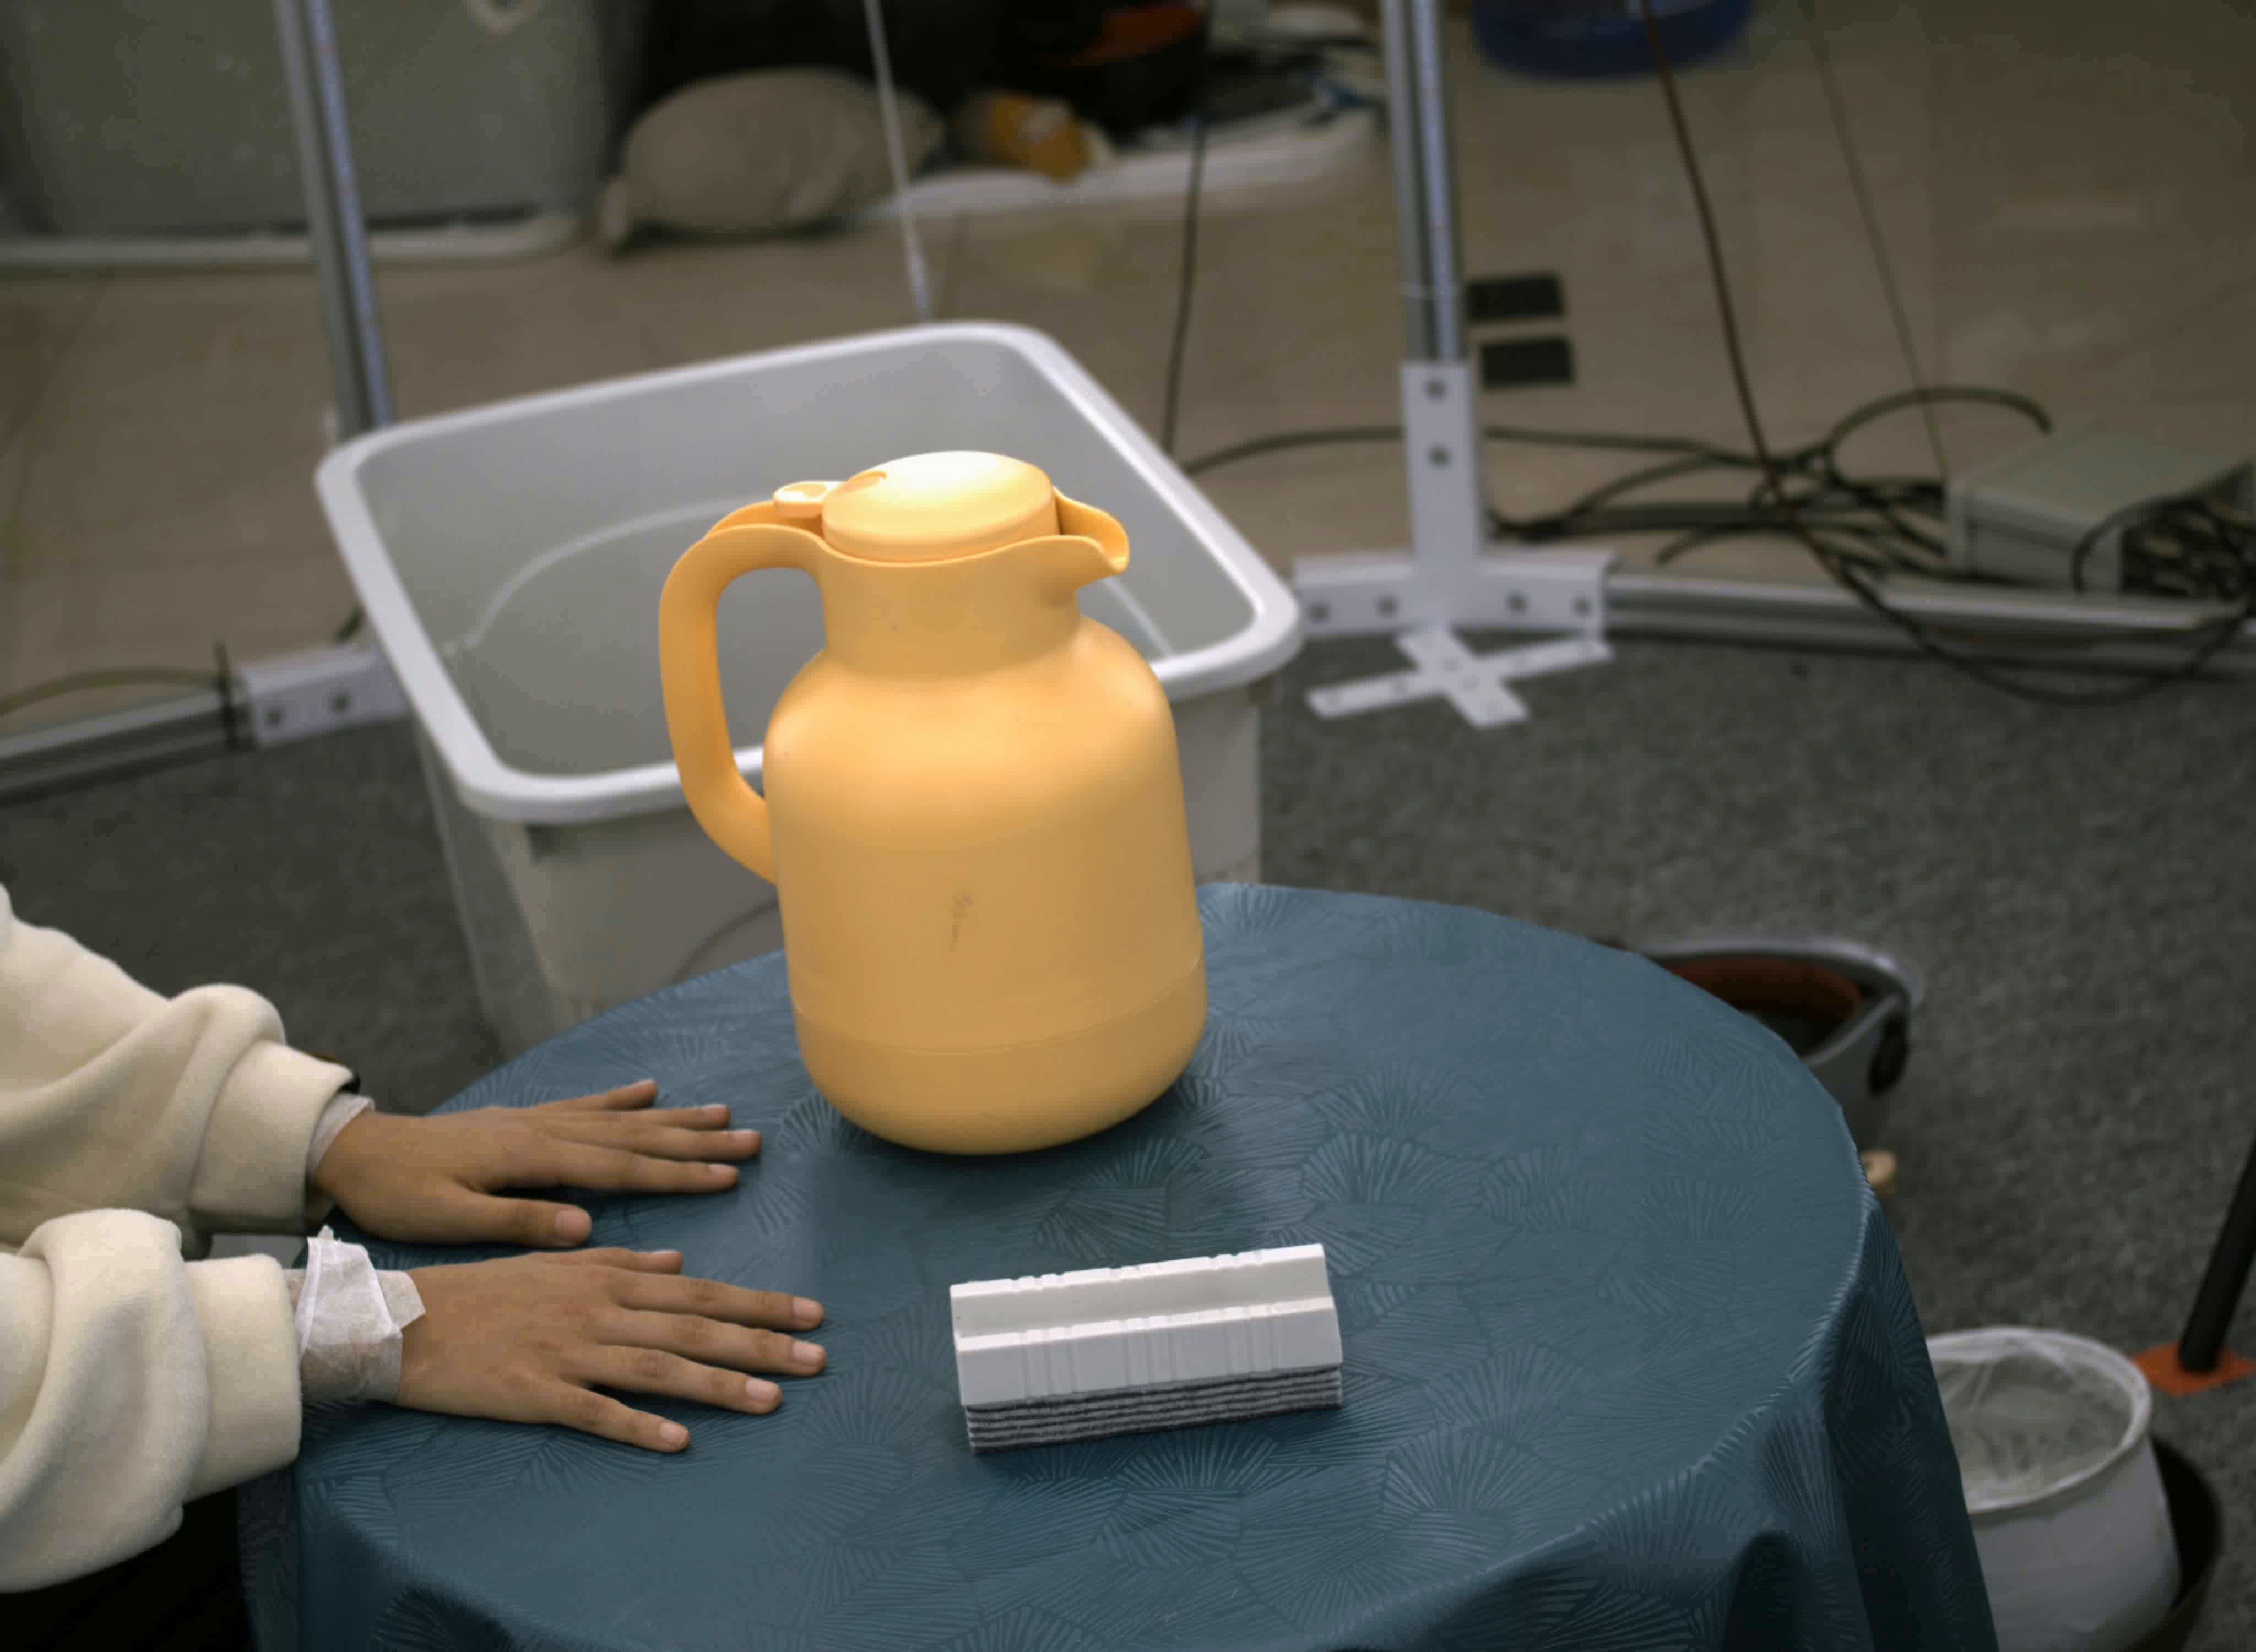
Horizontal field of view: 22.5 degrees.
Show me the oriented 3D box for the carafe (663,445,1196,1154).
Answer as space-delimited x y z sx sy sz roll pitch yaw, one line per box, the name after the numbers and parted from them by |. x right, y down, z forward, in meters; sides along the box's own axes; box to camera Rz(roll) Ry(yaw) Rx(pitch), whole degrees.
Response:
-0.078 -0.017 2.182 0.202 0.264 0.161 6 25 22 | carafe

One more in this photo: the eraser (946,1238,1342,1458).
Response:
0.006 0.184 1.995 0.134 0.047 0.049 -7 29 -4 | eraser
